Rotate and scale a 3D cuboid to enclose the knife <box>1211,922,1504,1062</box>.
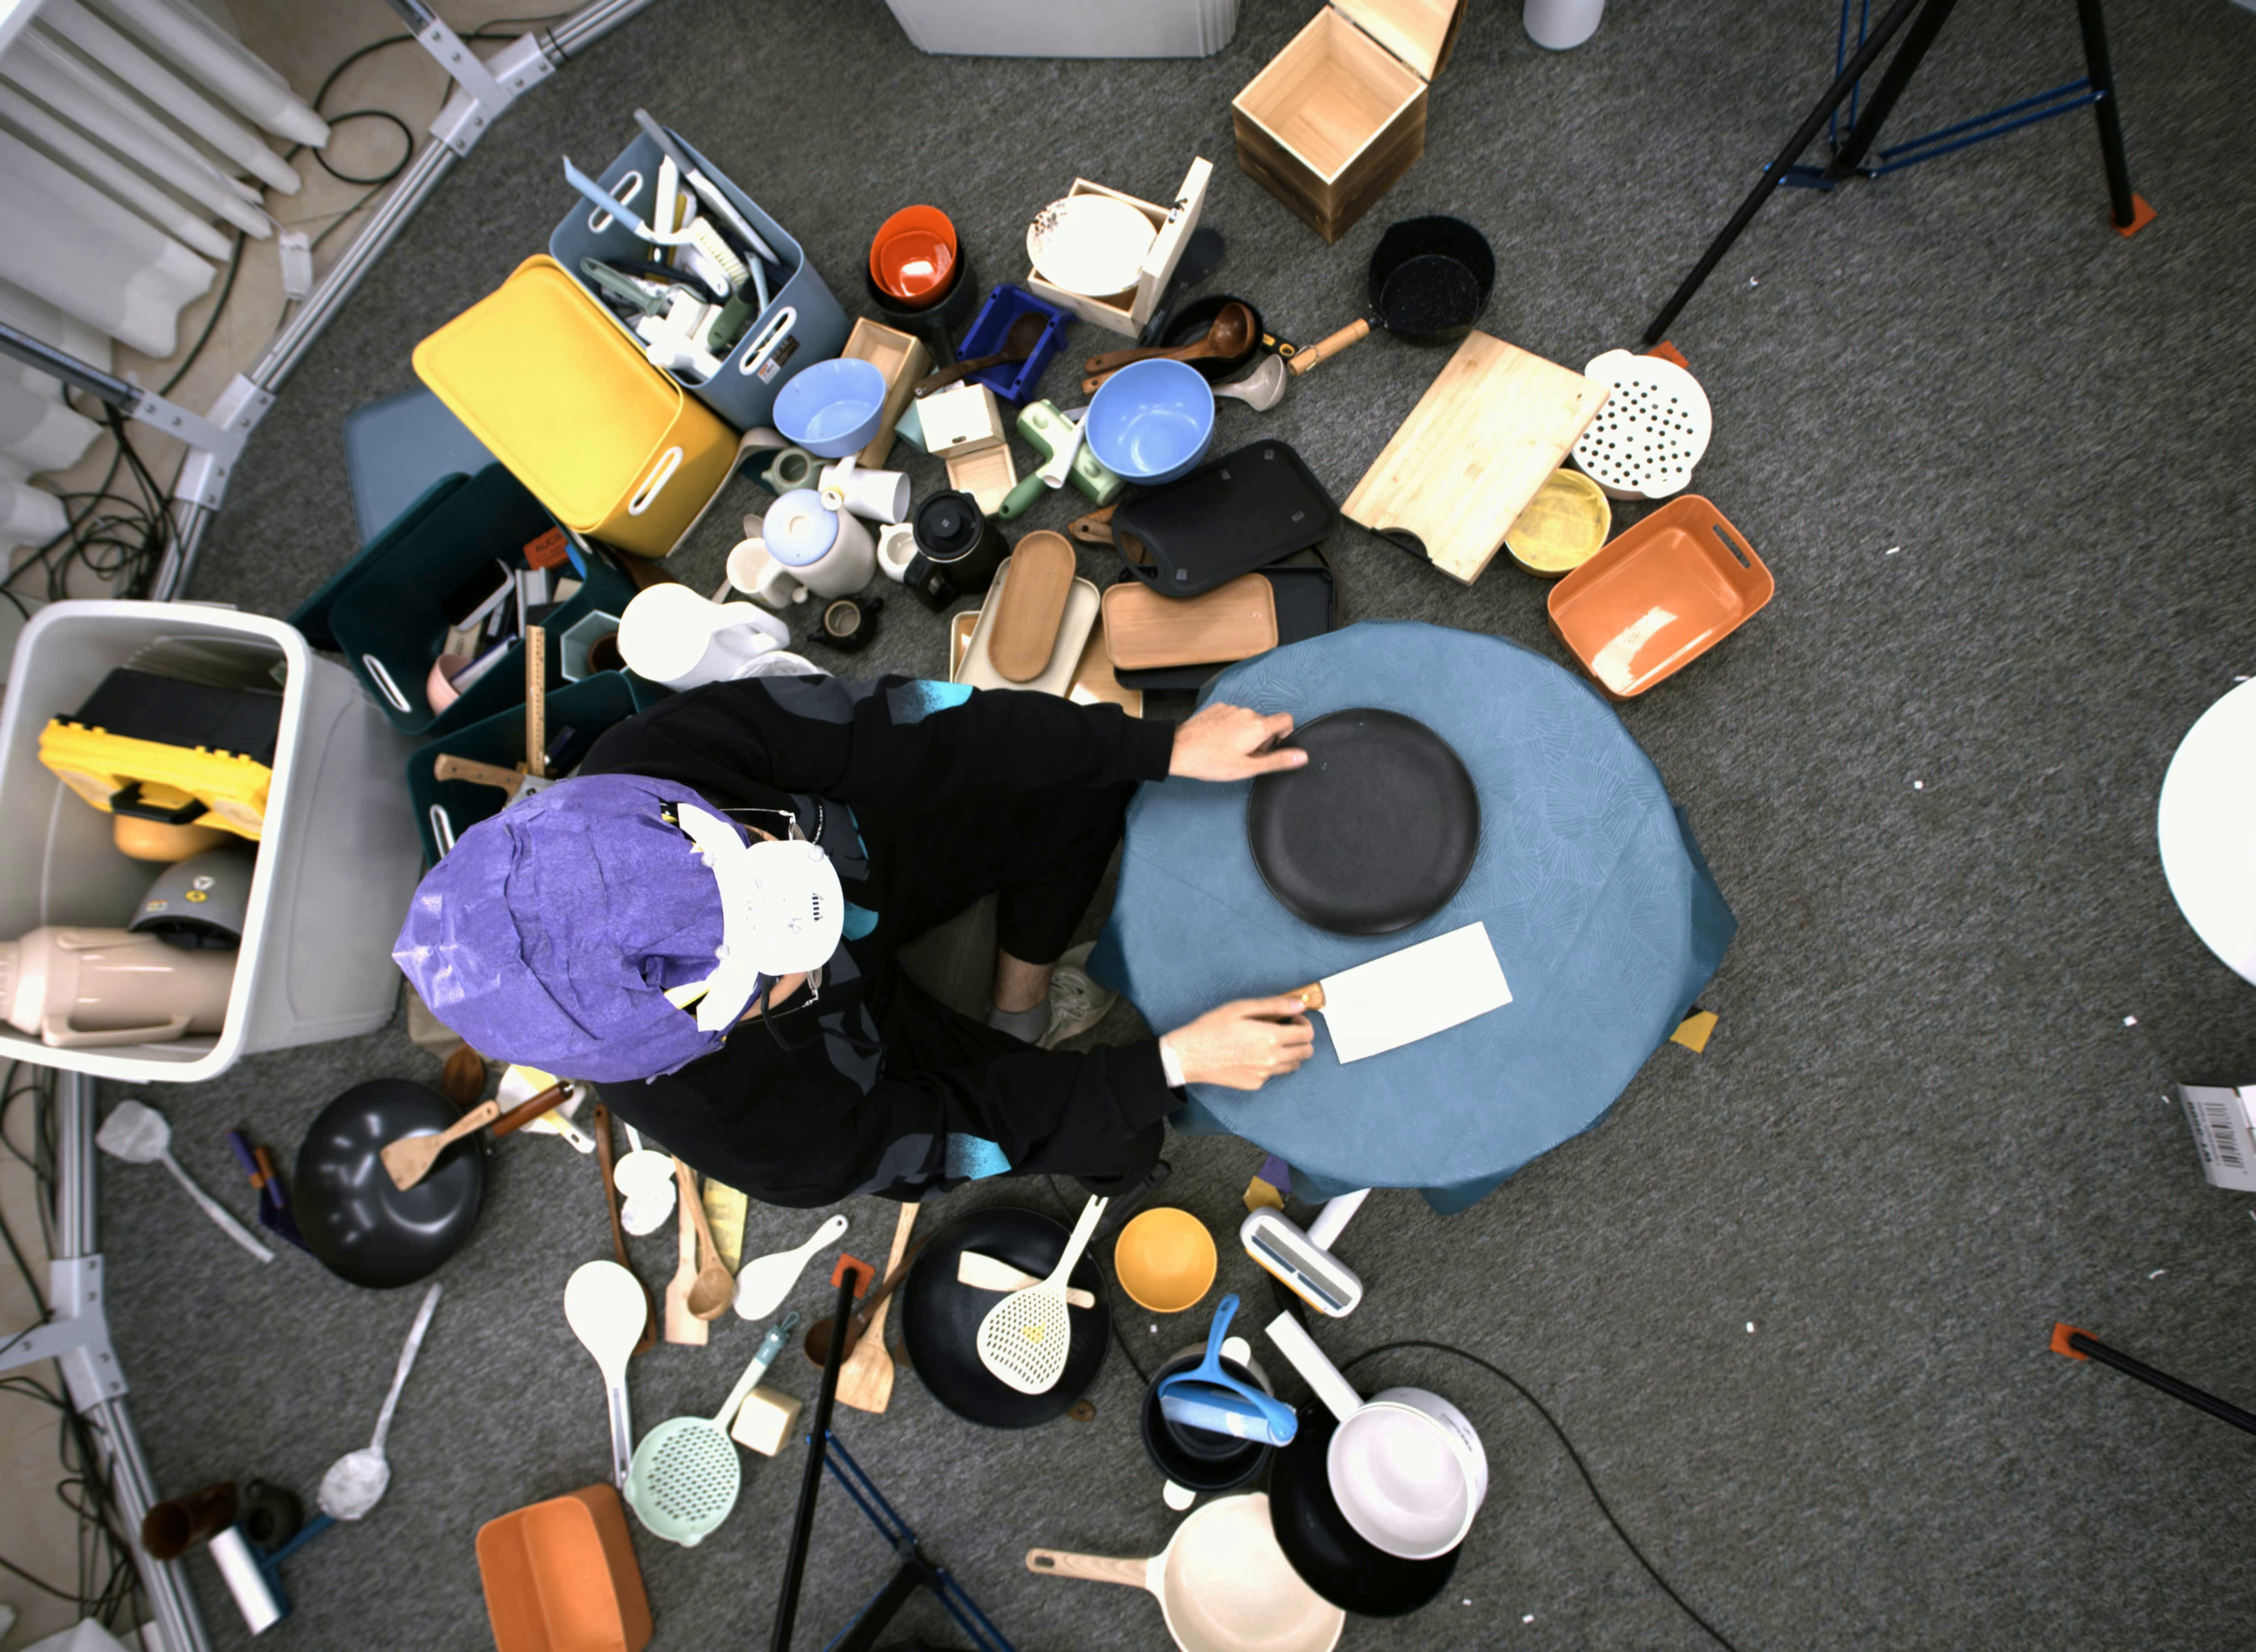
[{"bbox_3d":[0.242,0.191,1.451,0.307,0.021,0.092,-21,85,6],"label":"knife"}]

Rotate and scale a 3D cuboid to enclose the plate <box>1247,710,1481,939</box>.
[{"bbox_3d":[0.247,-0.003,1.456,0.245,0.023,0.243,-1,87,10],"label":"plate"}]
